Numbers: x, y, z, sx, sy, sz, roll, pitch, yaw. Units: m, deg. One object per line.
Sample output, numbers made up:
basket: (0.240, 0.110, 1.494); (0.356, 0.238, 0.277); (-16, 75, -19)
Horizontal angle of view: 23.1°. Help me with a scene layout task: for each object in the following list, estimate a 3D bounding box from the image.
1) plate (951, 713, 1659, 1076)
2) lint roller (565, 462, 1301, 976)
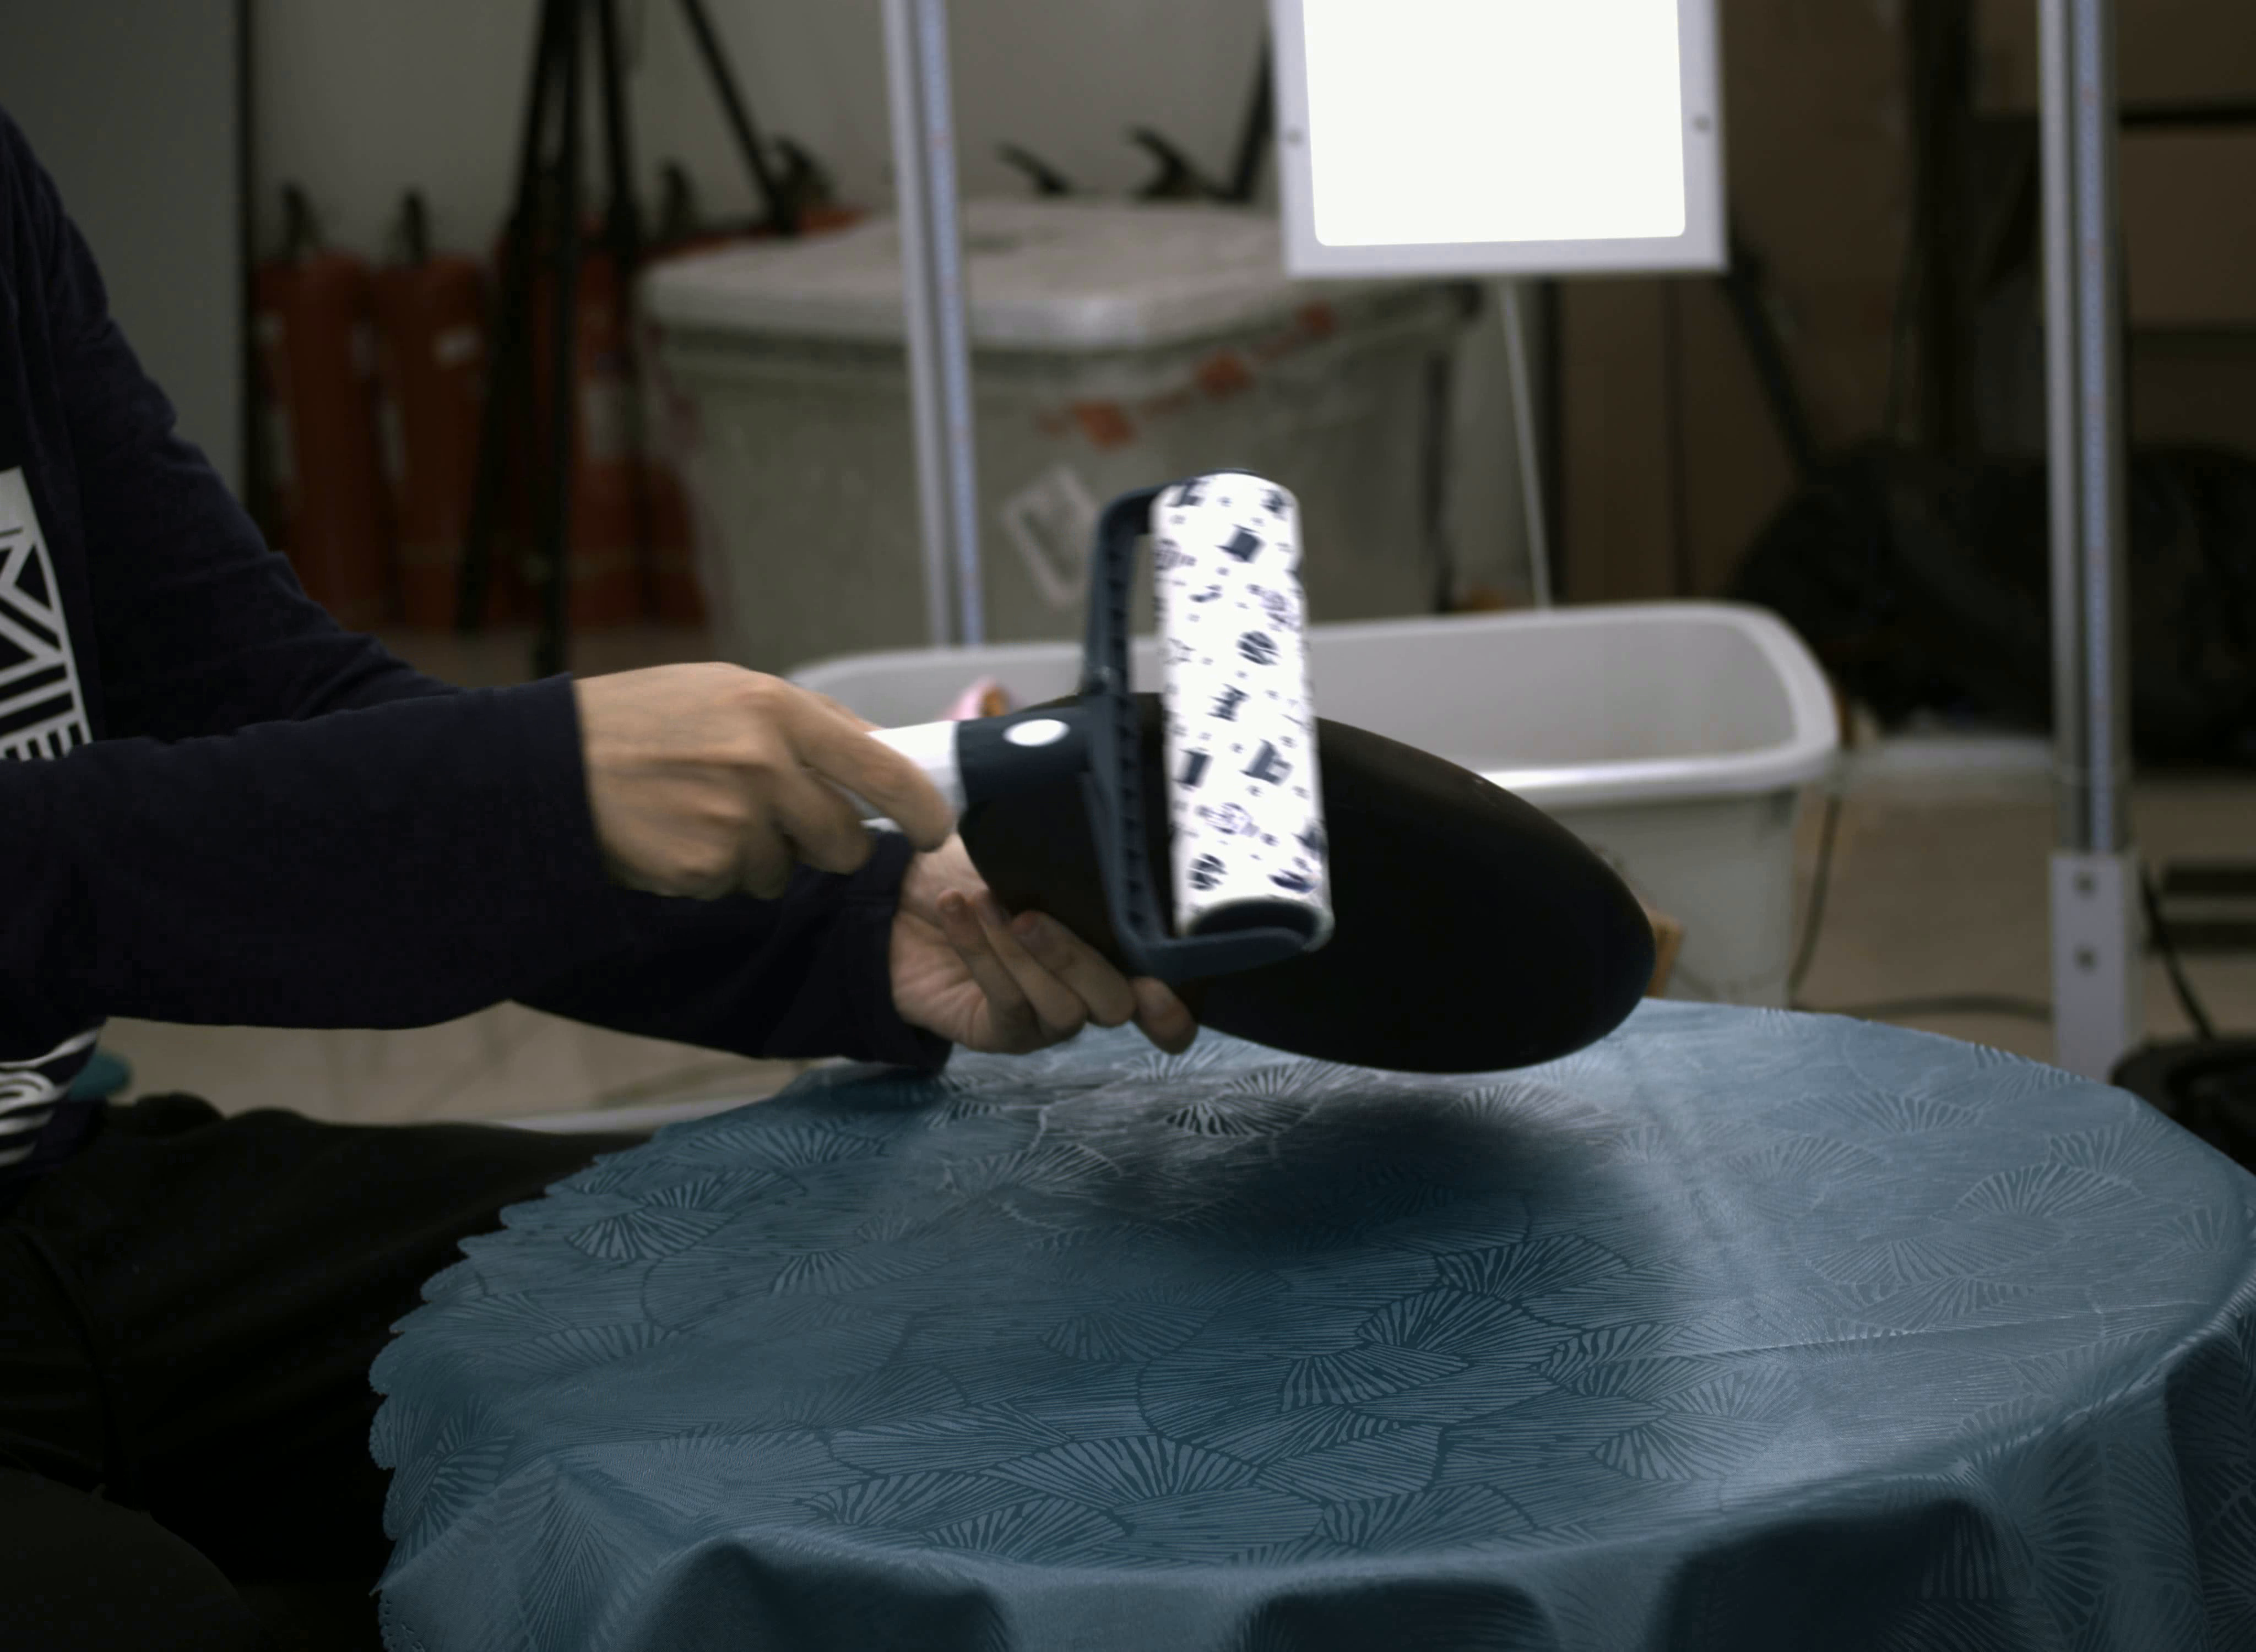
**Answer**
plate: (0.059, 0.026, 1.914); (0.255, 0.029, 0.256); (15, -25, 5)
lint roller: (-0.069, -0.019, 1.800); (0.249, 0.176, 0.050); (-11, -30, 12)
